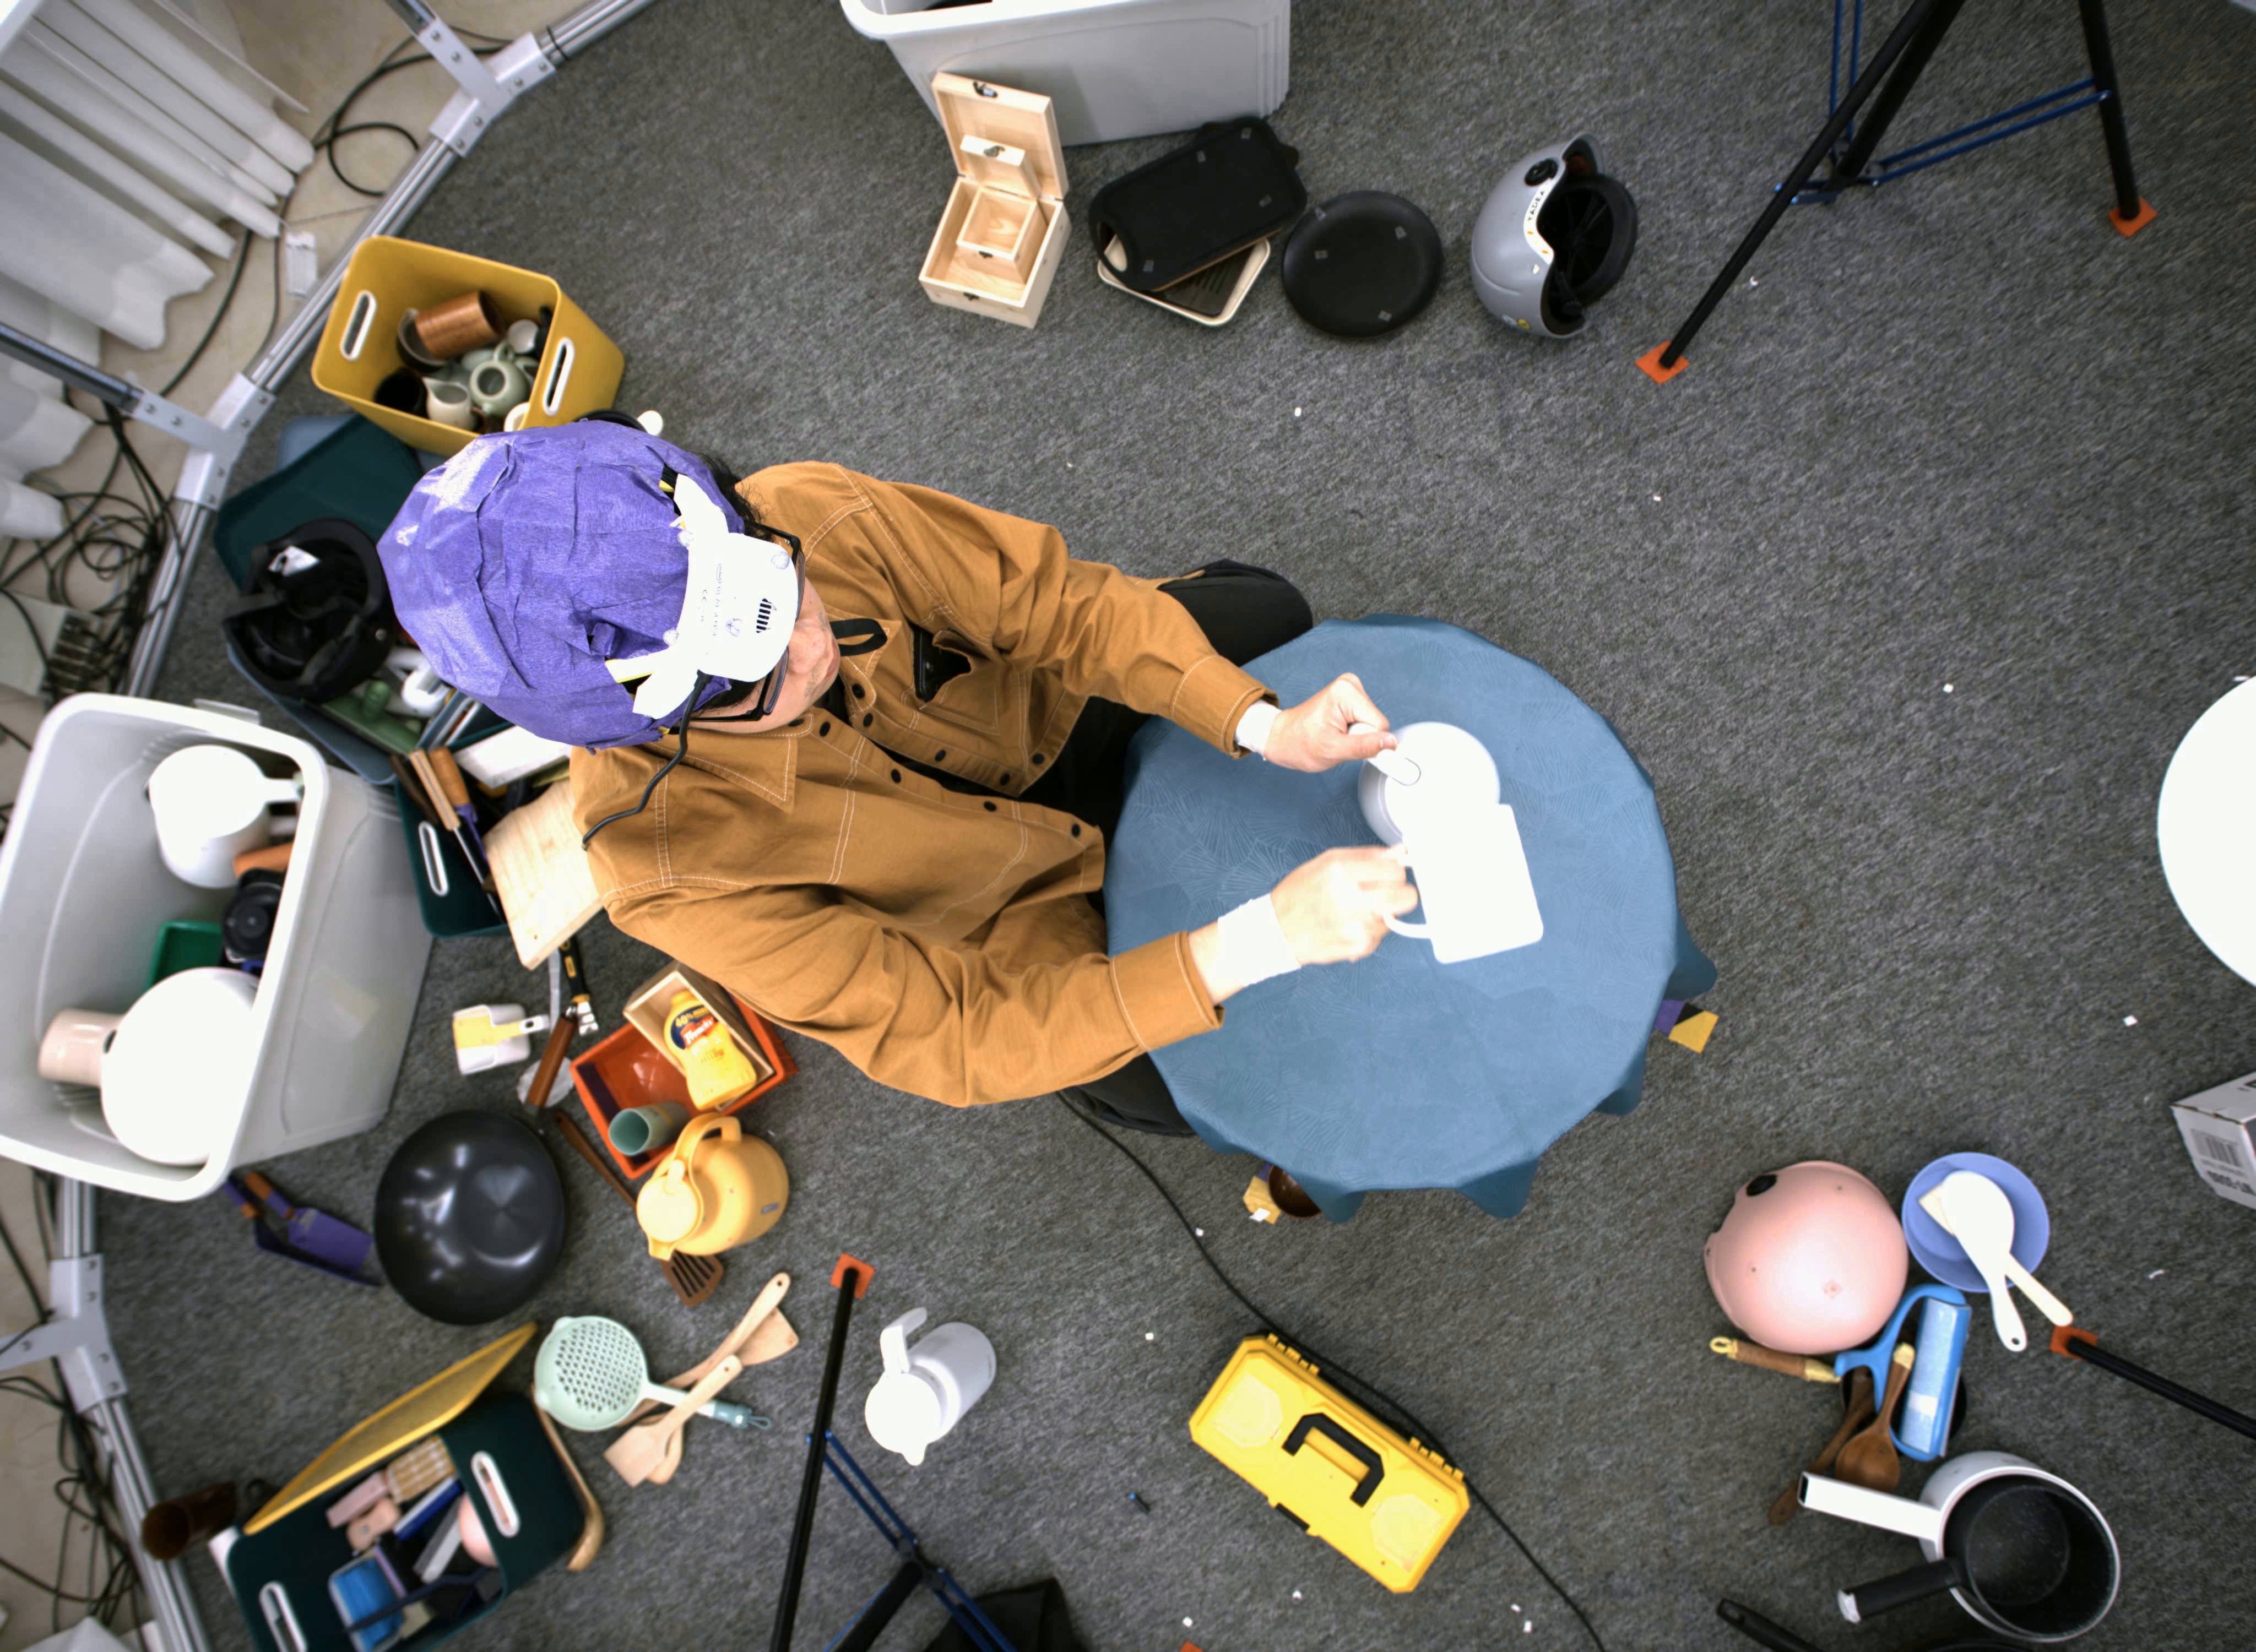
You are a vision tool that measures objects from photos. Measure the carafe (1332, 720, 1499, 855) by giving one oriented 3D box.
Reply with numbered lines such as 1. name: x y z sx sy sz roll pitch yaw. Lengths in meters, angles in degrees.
1. carafe: 0.262 -0.041 1.271 0.167 0.247 0.133 35 99 6

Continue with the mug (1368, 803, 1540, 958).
1. mug: 0.247 0.046 1.058 0.118 0.085 0.101 -14 79 5
